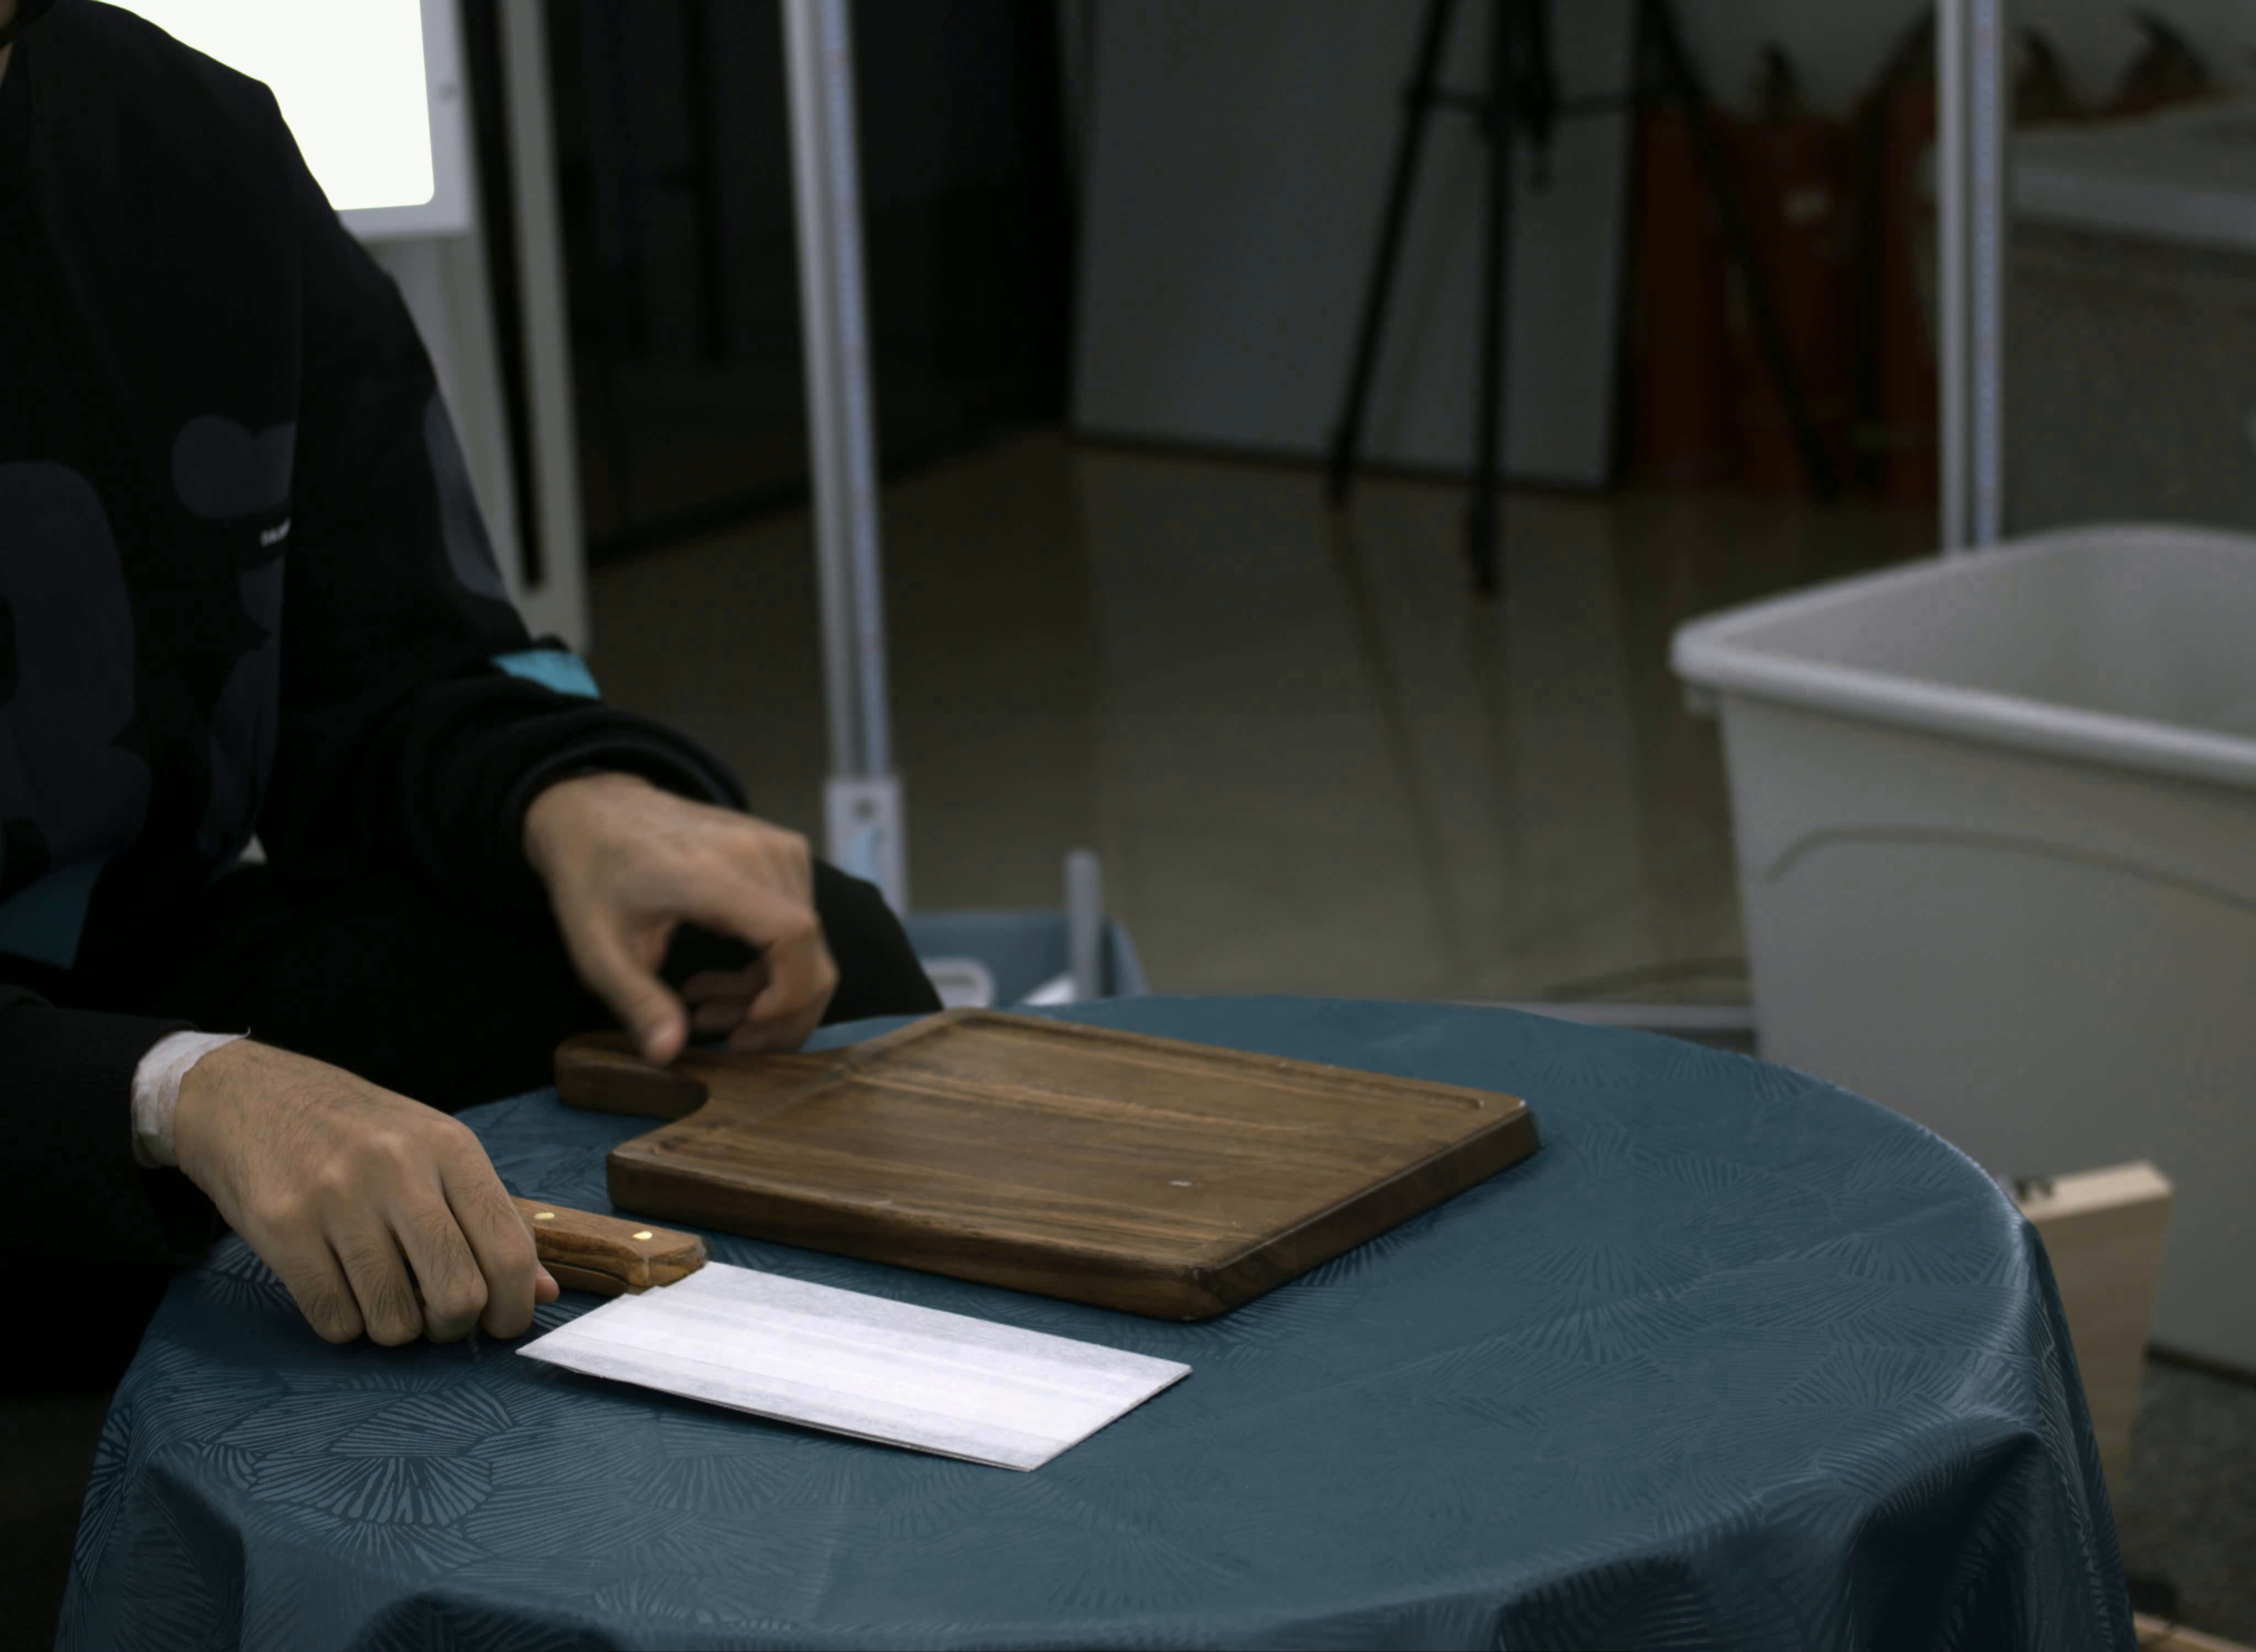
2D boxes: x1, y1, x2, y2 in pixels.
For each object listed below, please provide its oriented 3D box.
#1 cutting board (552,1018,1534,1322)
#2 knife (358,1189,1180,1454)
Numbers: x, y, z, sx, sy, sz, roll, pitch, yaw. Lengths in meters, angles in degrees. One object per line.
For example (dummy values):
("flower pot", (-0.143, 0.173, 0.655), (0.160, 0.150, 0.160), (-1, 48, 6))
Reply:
("cutting board", (-0.057, 0.105, 1.811), (0.354, 0.023, 0.197), (6, 17, 37))
("knife", (-0.129, 0.153, 1.647), (0.307, 0.021, 0.091), (8, 20, 34))
